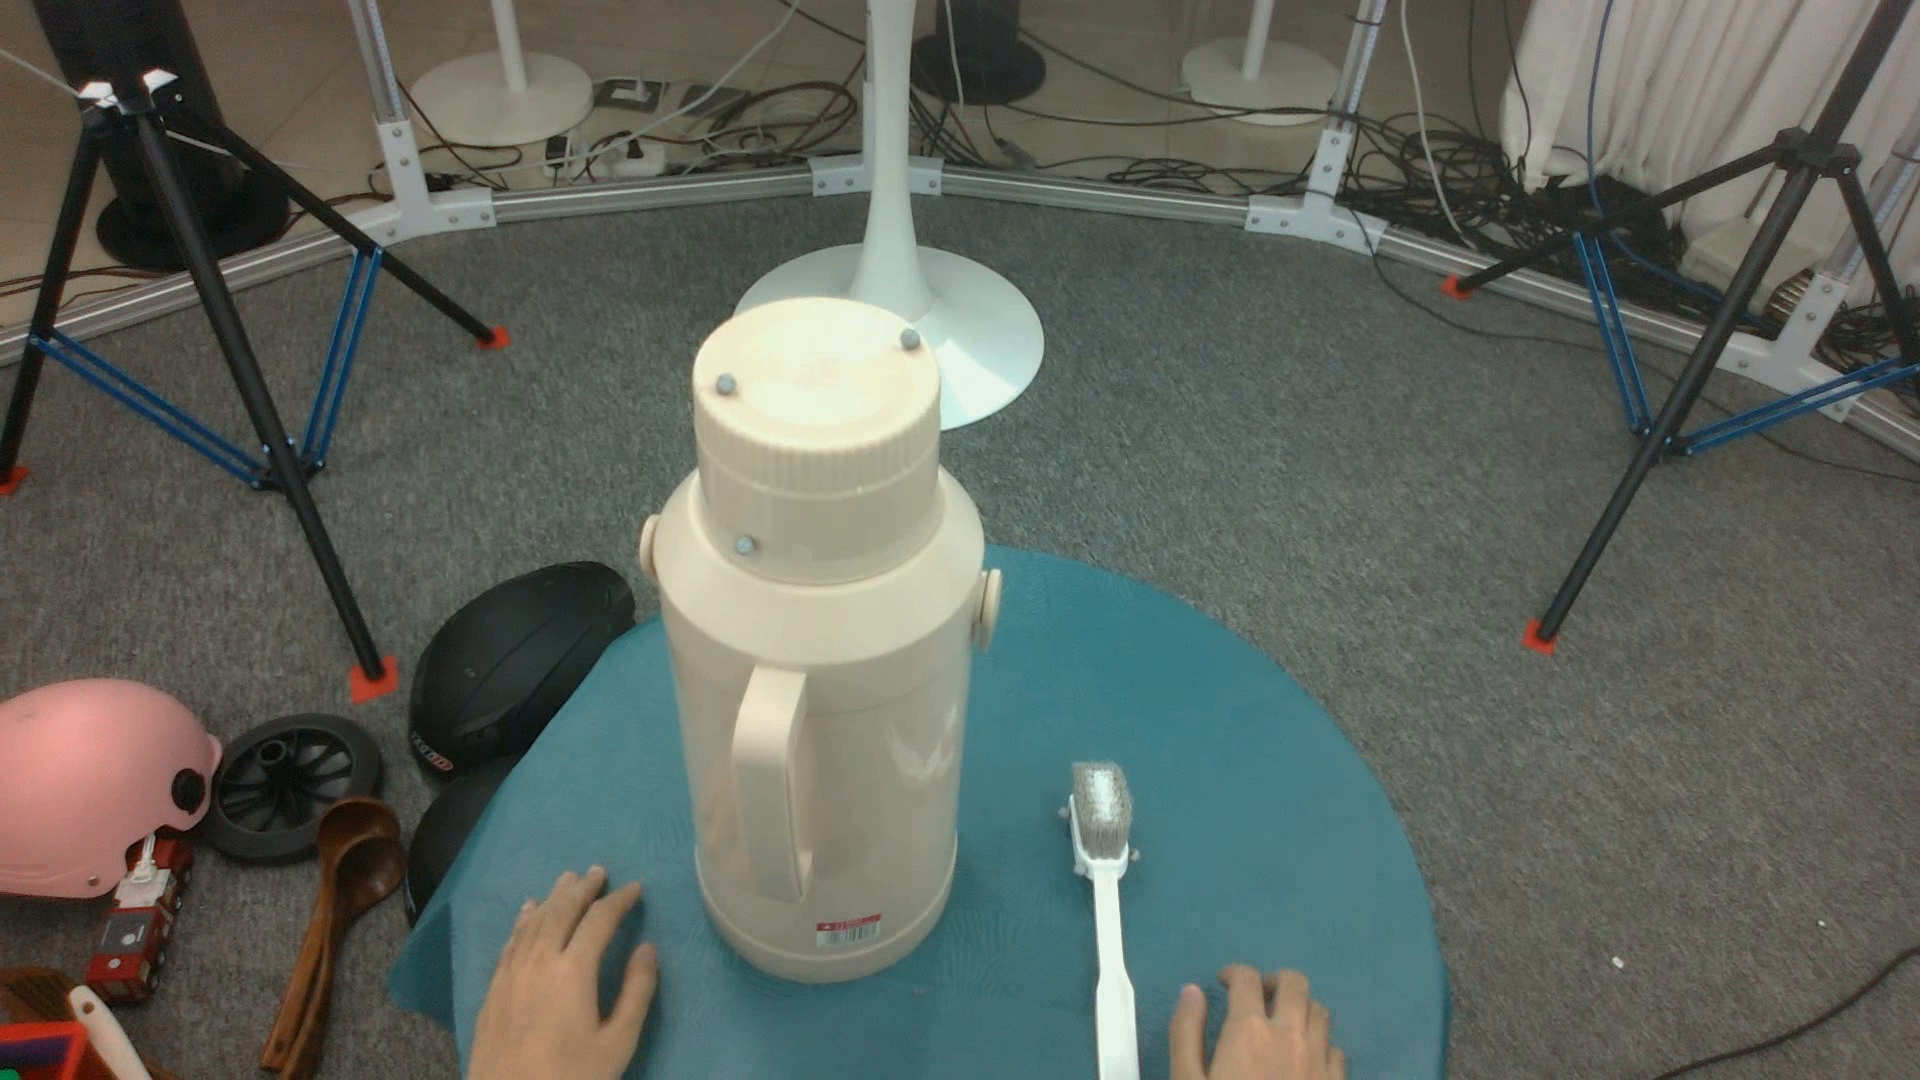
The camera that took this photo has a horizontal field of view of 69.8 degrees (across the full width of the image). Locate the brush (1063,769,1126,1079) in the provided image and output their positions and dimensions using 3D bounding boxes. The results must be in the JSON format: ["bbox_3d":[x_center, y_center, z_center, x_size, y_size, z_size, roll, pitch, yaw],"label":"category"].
[{"bbox_3d":[0.083,0.242,0.823,0.034,0.050,0.245,7,45,-4],"label":"brush"}]

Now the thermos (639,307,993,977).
[{"bbox_3d":[-0.080,0.079,0.727,0.175,0.404,0.208,9,46,2],"label":"thermos"}]
